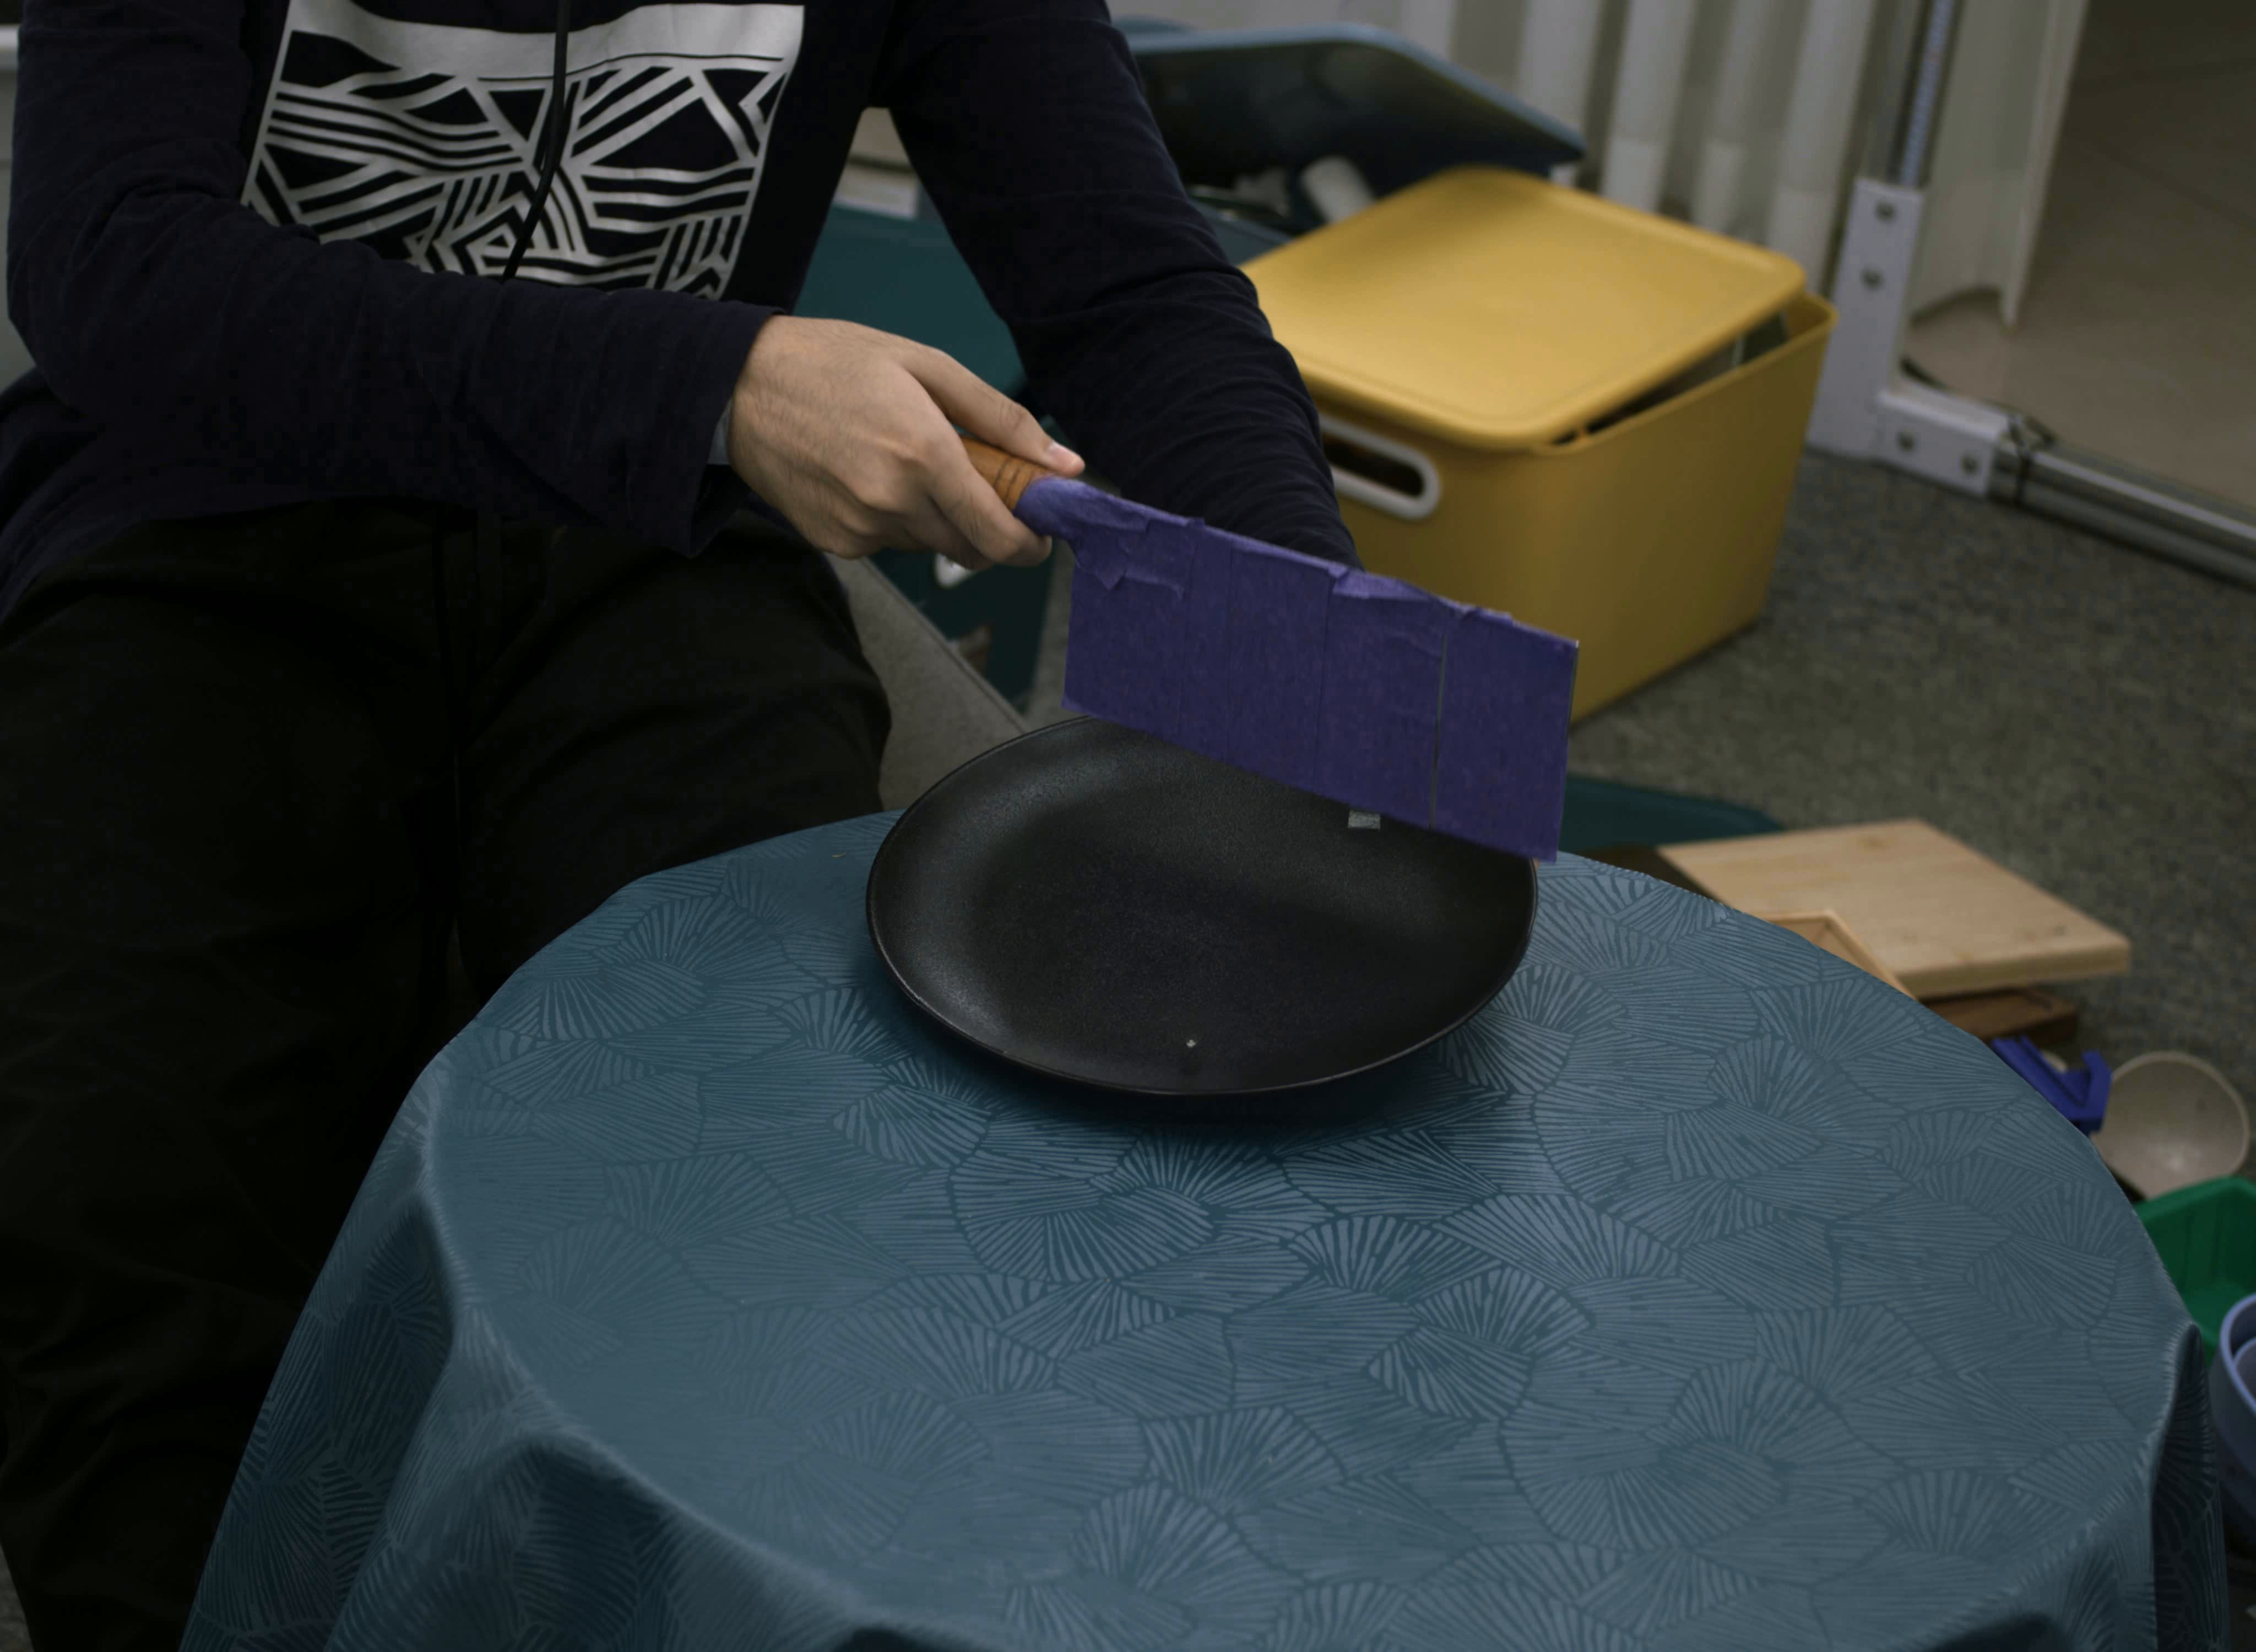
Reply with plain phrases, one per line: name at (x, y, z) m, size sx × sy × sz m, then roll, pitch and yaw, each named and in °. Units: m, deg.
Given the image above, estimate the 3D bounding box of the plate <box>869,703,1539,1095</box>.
plate at (0.027, 0.028, 1.933) m, size 0.244 × 0.023 × 0.246 m, roll -3°, pitch 35°, yaw 2°

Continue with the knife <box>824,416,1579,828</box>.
knife at (0.022, -0.072, 1.947) m, size 0.317 × 0.103 × 0.032 m, roll 18°, pitch 28°, yaw 29°
